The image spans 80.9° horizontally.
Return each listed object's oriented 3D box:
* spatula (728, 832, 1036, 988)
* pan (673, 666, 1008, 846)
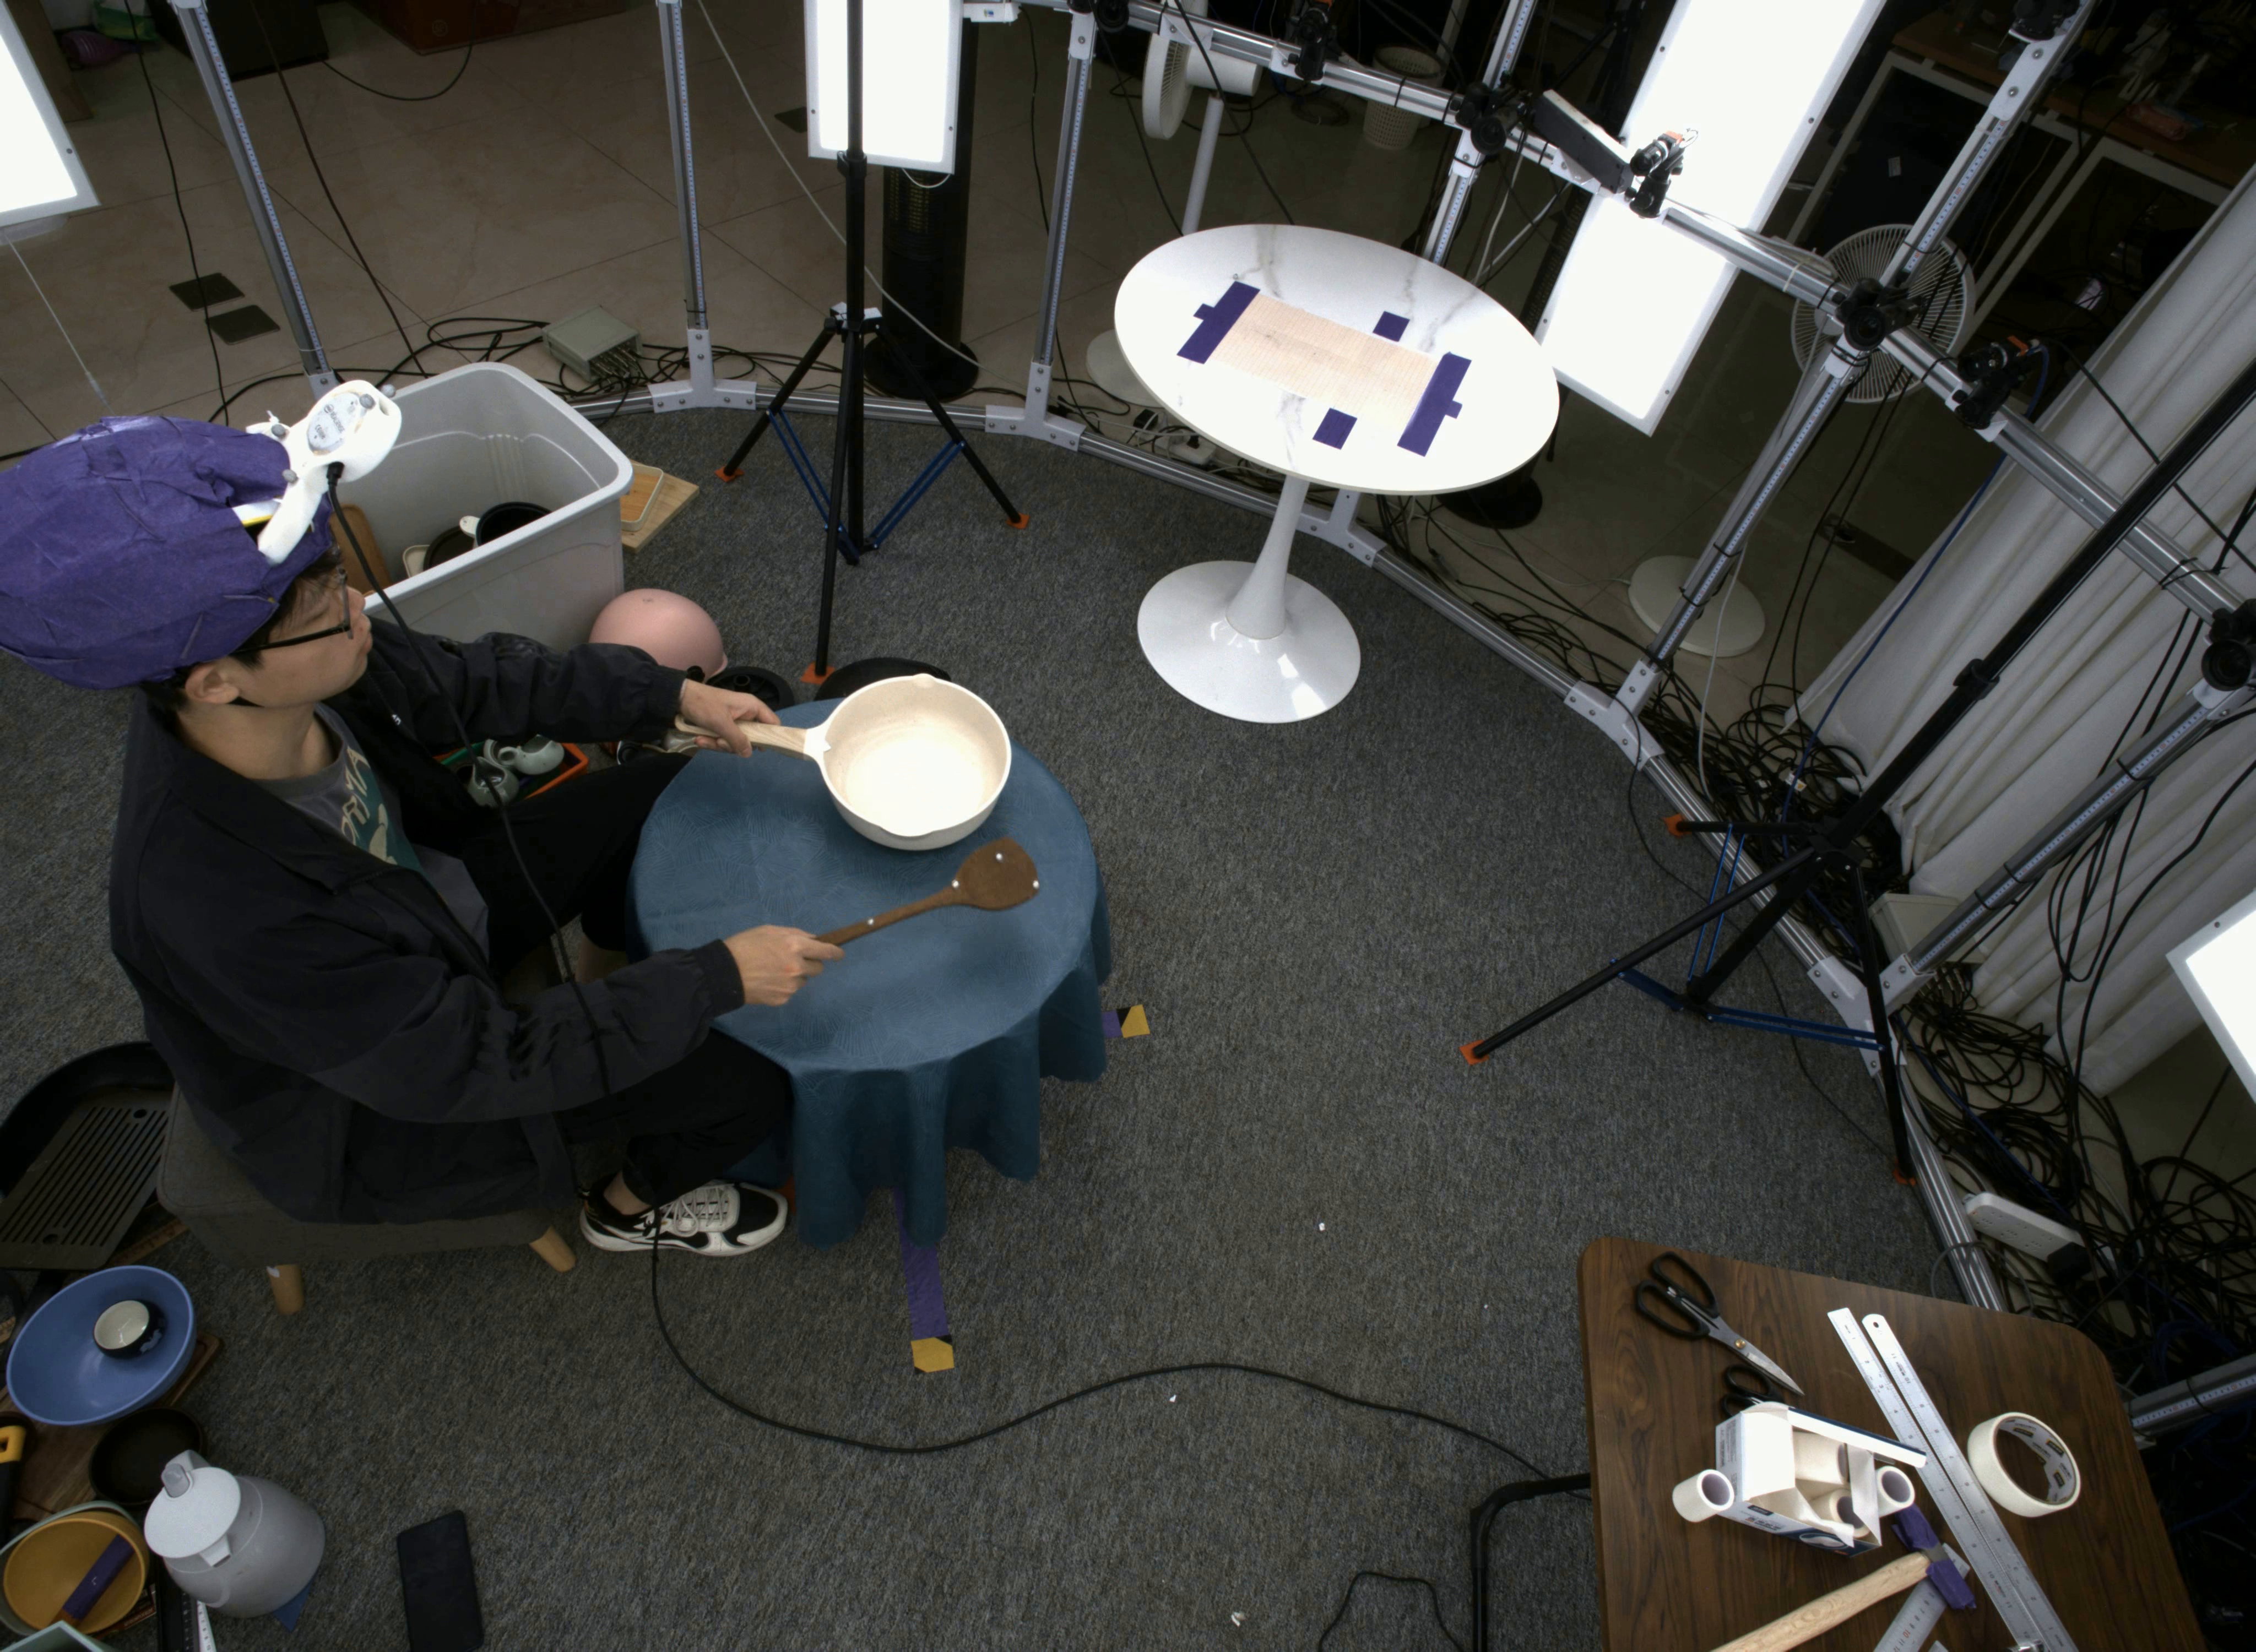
[{"bbox_3d":[-0.289,0.106,1.541,0.387,0.016,0.094,-22,64,-22],"label":"spatula"},{"bbox_3d":[-0.377,-0.096,1.724,0.434,0.103,0.259,5,60,-10],"label":"pan"}]
